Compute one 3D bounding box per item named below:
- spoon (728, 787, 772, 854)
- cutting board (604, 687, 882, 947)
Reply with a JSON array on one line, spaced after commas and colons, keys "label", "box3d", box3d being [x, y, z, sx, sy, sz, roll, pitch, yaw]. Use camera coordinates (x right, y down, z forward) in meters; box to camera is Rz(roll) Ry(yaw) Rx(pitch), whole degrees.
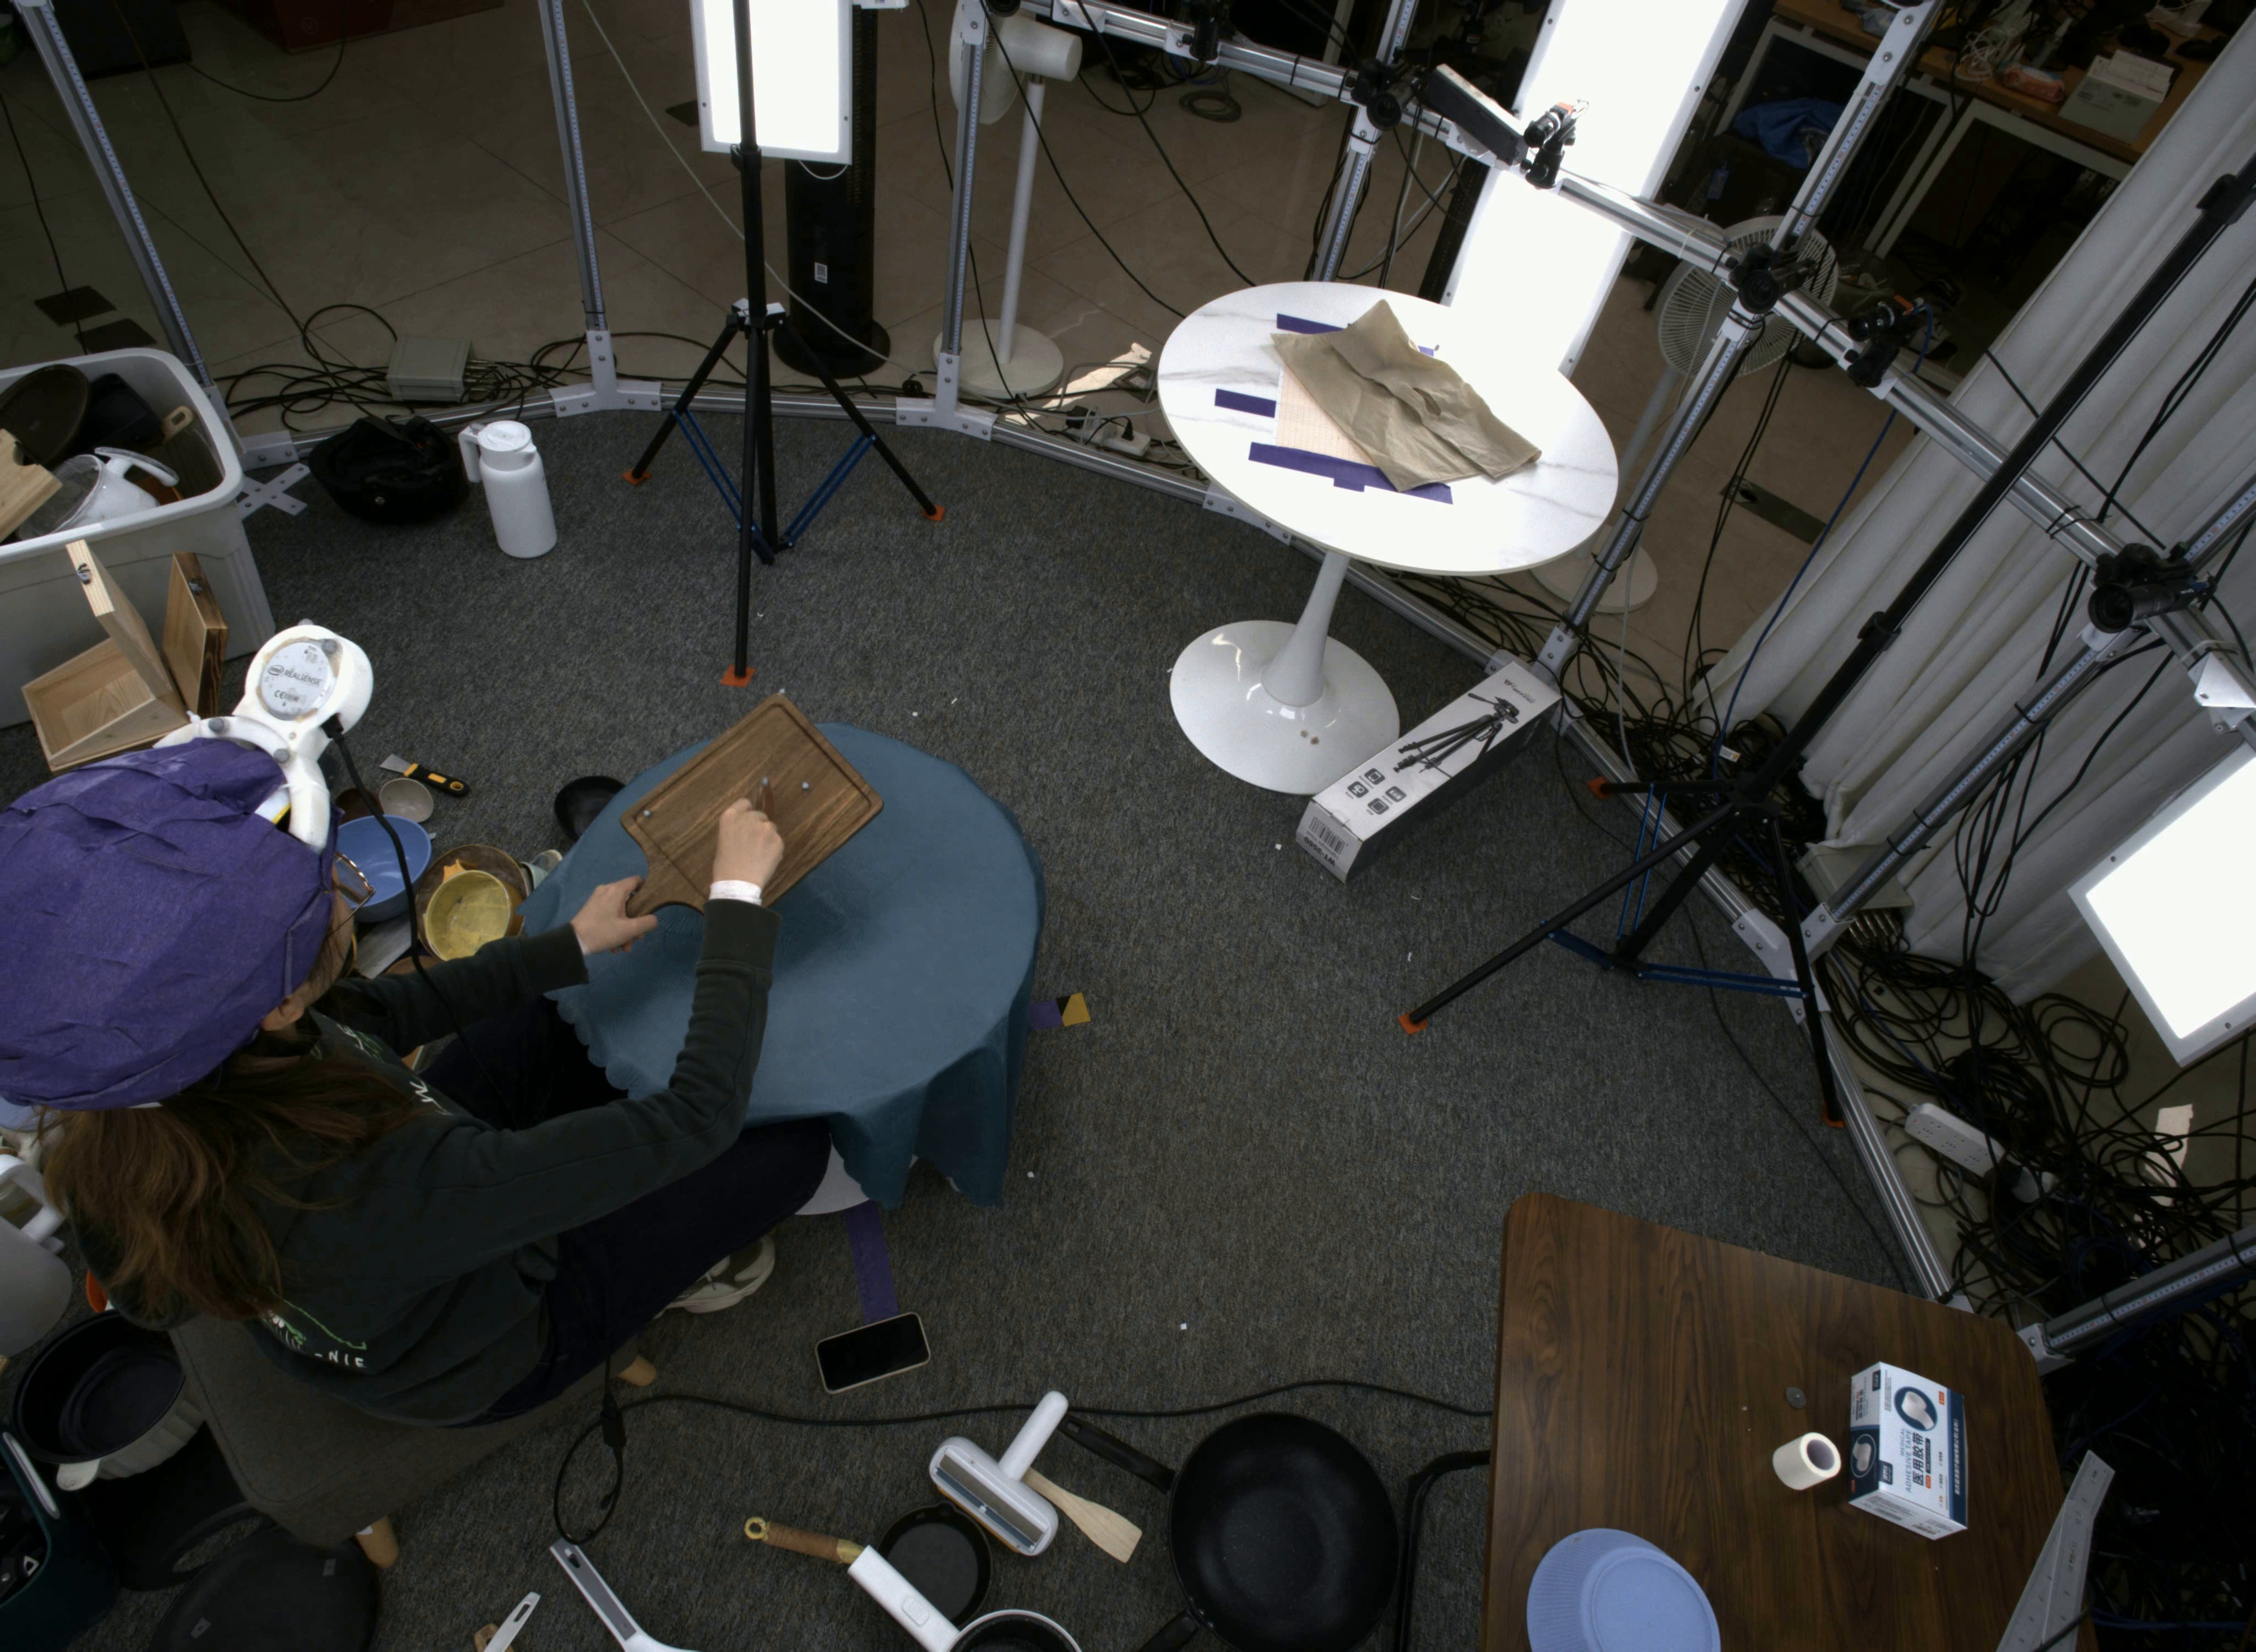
[{"label": "spoon", "box3d": [-0.410, 0.000, 1.413, 0.017, 0.212, 0.077, 7, 96, -8]}, {"label": "cutting board", "box3d": [-0.485, 0.013, 1.536, 0.352, 0.023, 0.202, -44, 93, -20]}]
